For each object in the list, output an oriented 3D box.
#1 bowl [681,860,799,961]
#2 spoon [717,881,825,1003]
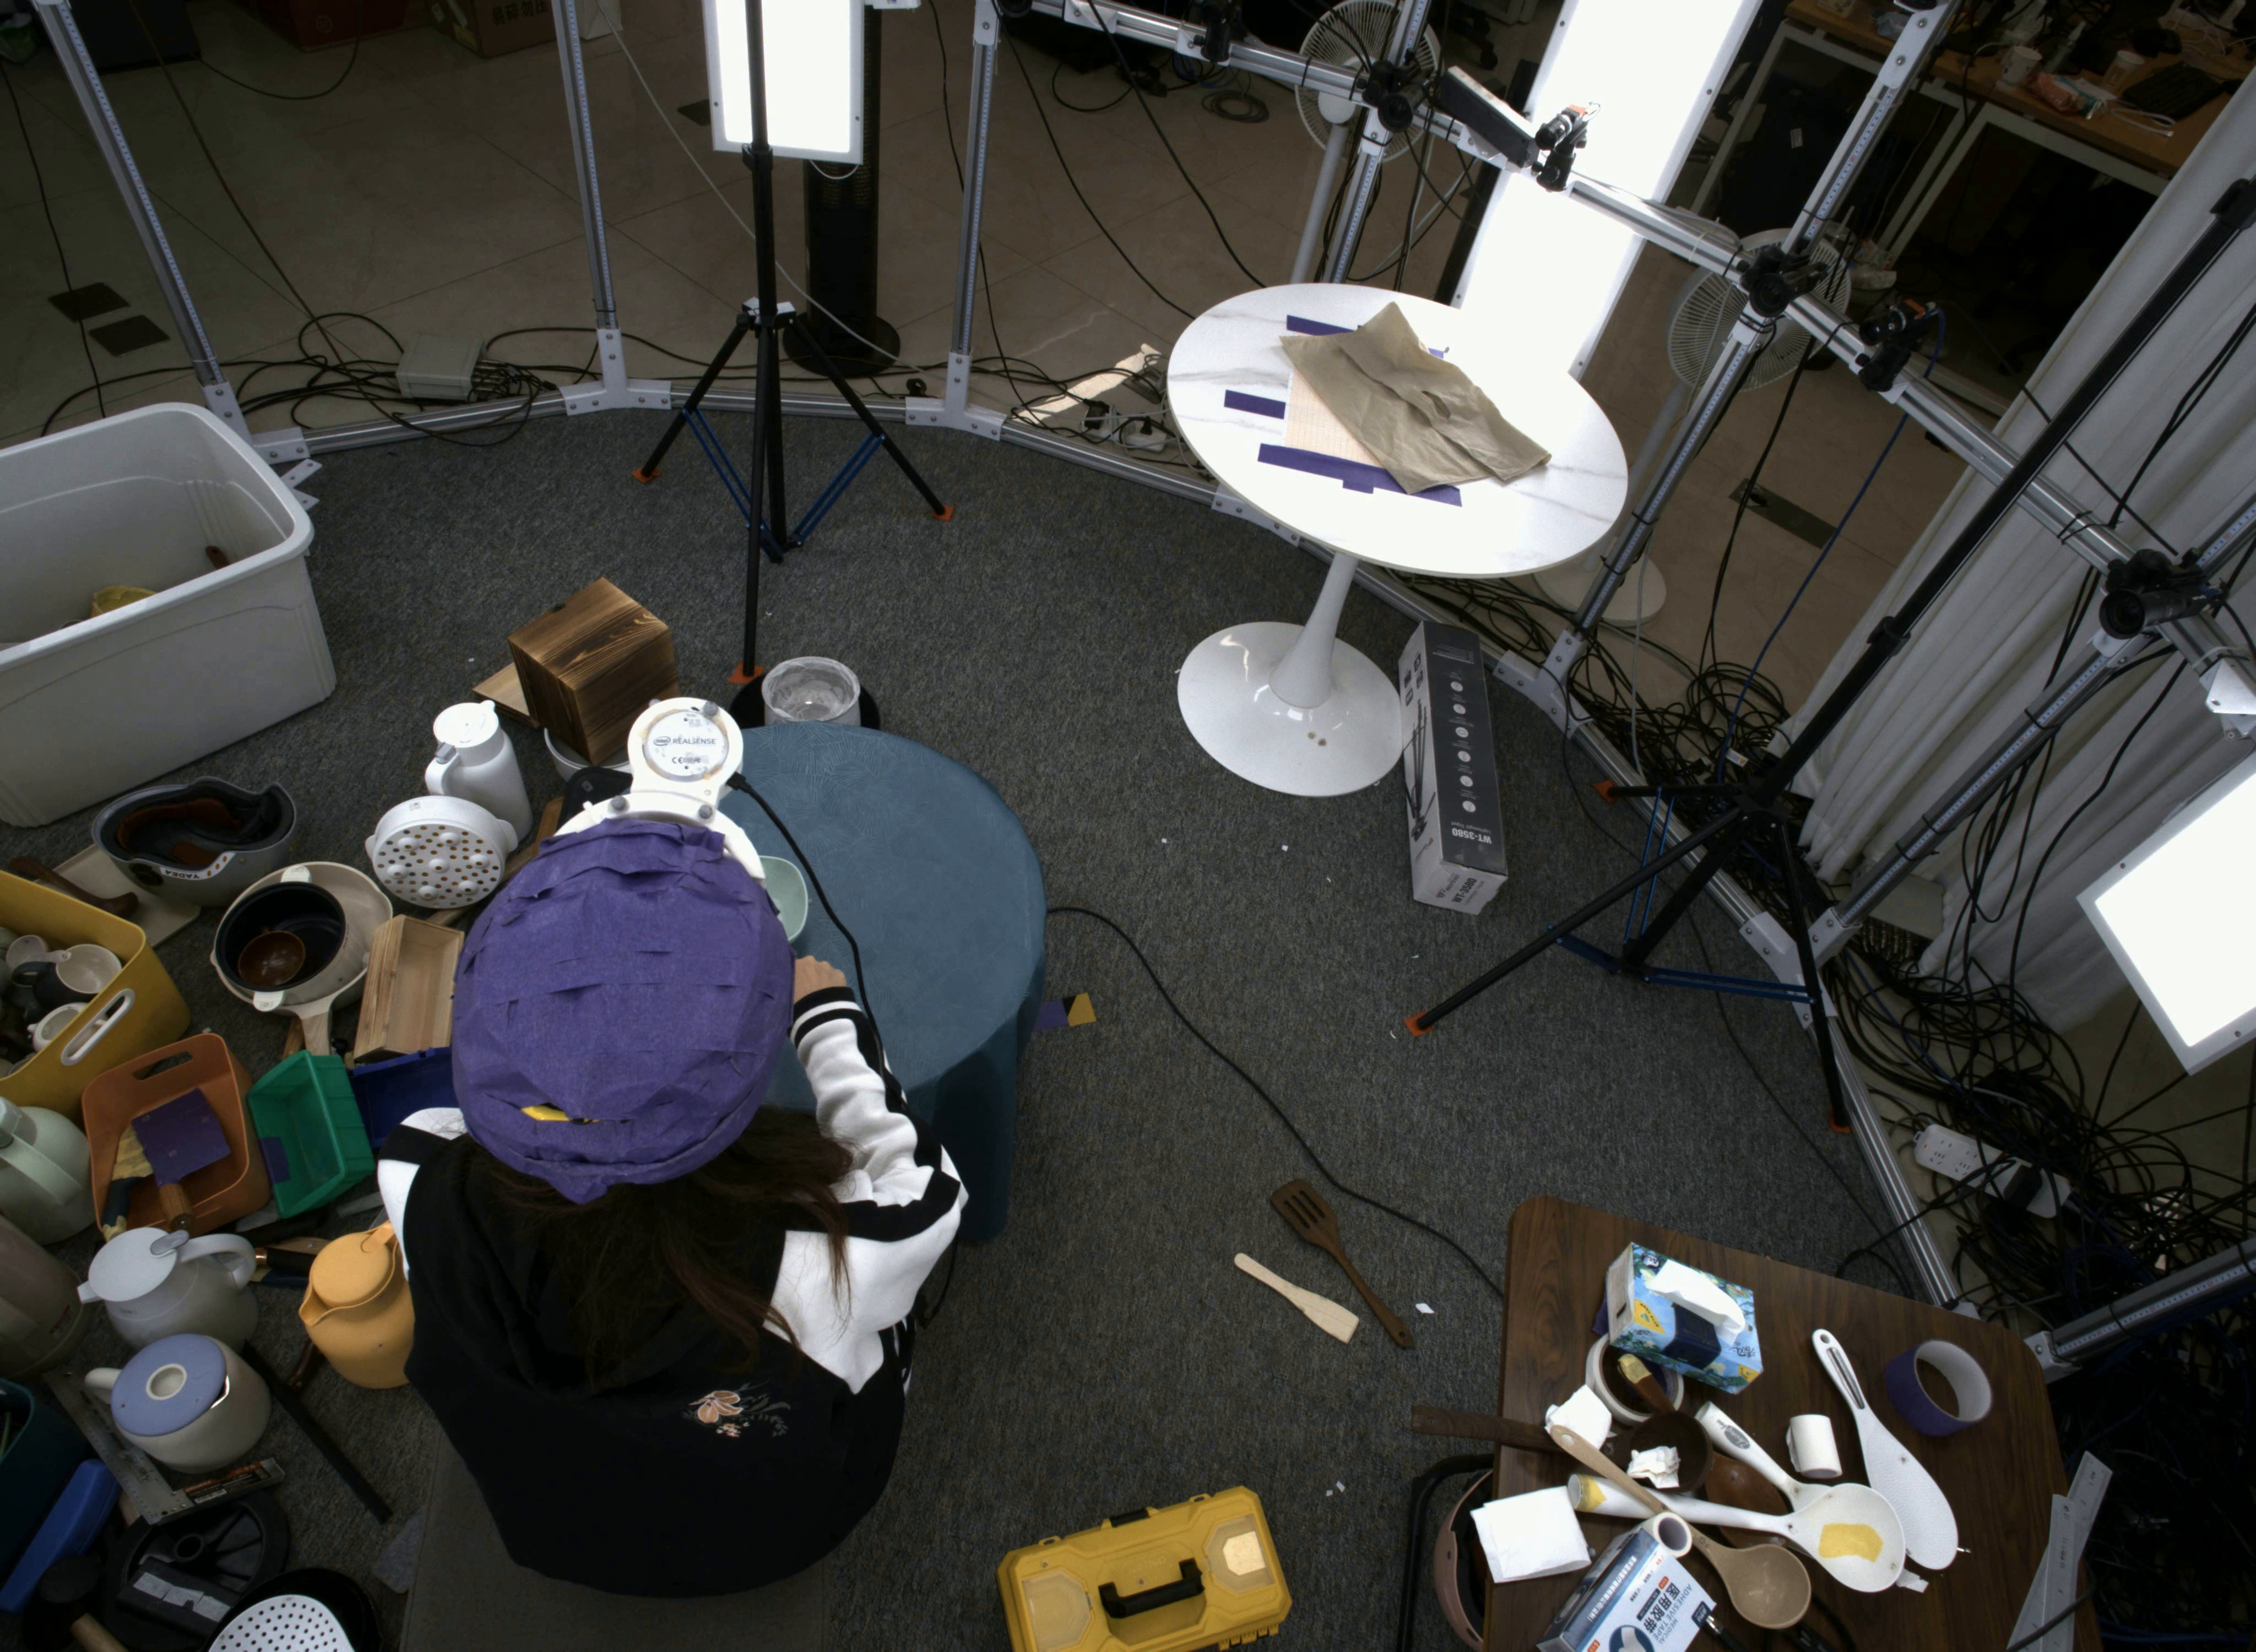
[{"bbox_3d":[-0.475,0.112,1.587,0.151,0.060,0.149,8,52,-9],"label":"bowl"},{"bbox_3d":[-0.404,0.131,1.490,0.267,0.104,0.059,20,51,43],"label":"spoon"}]
